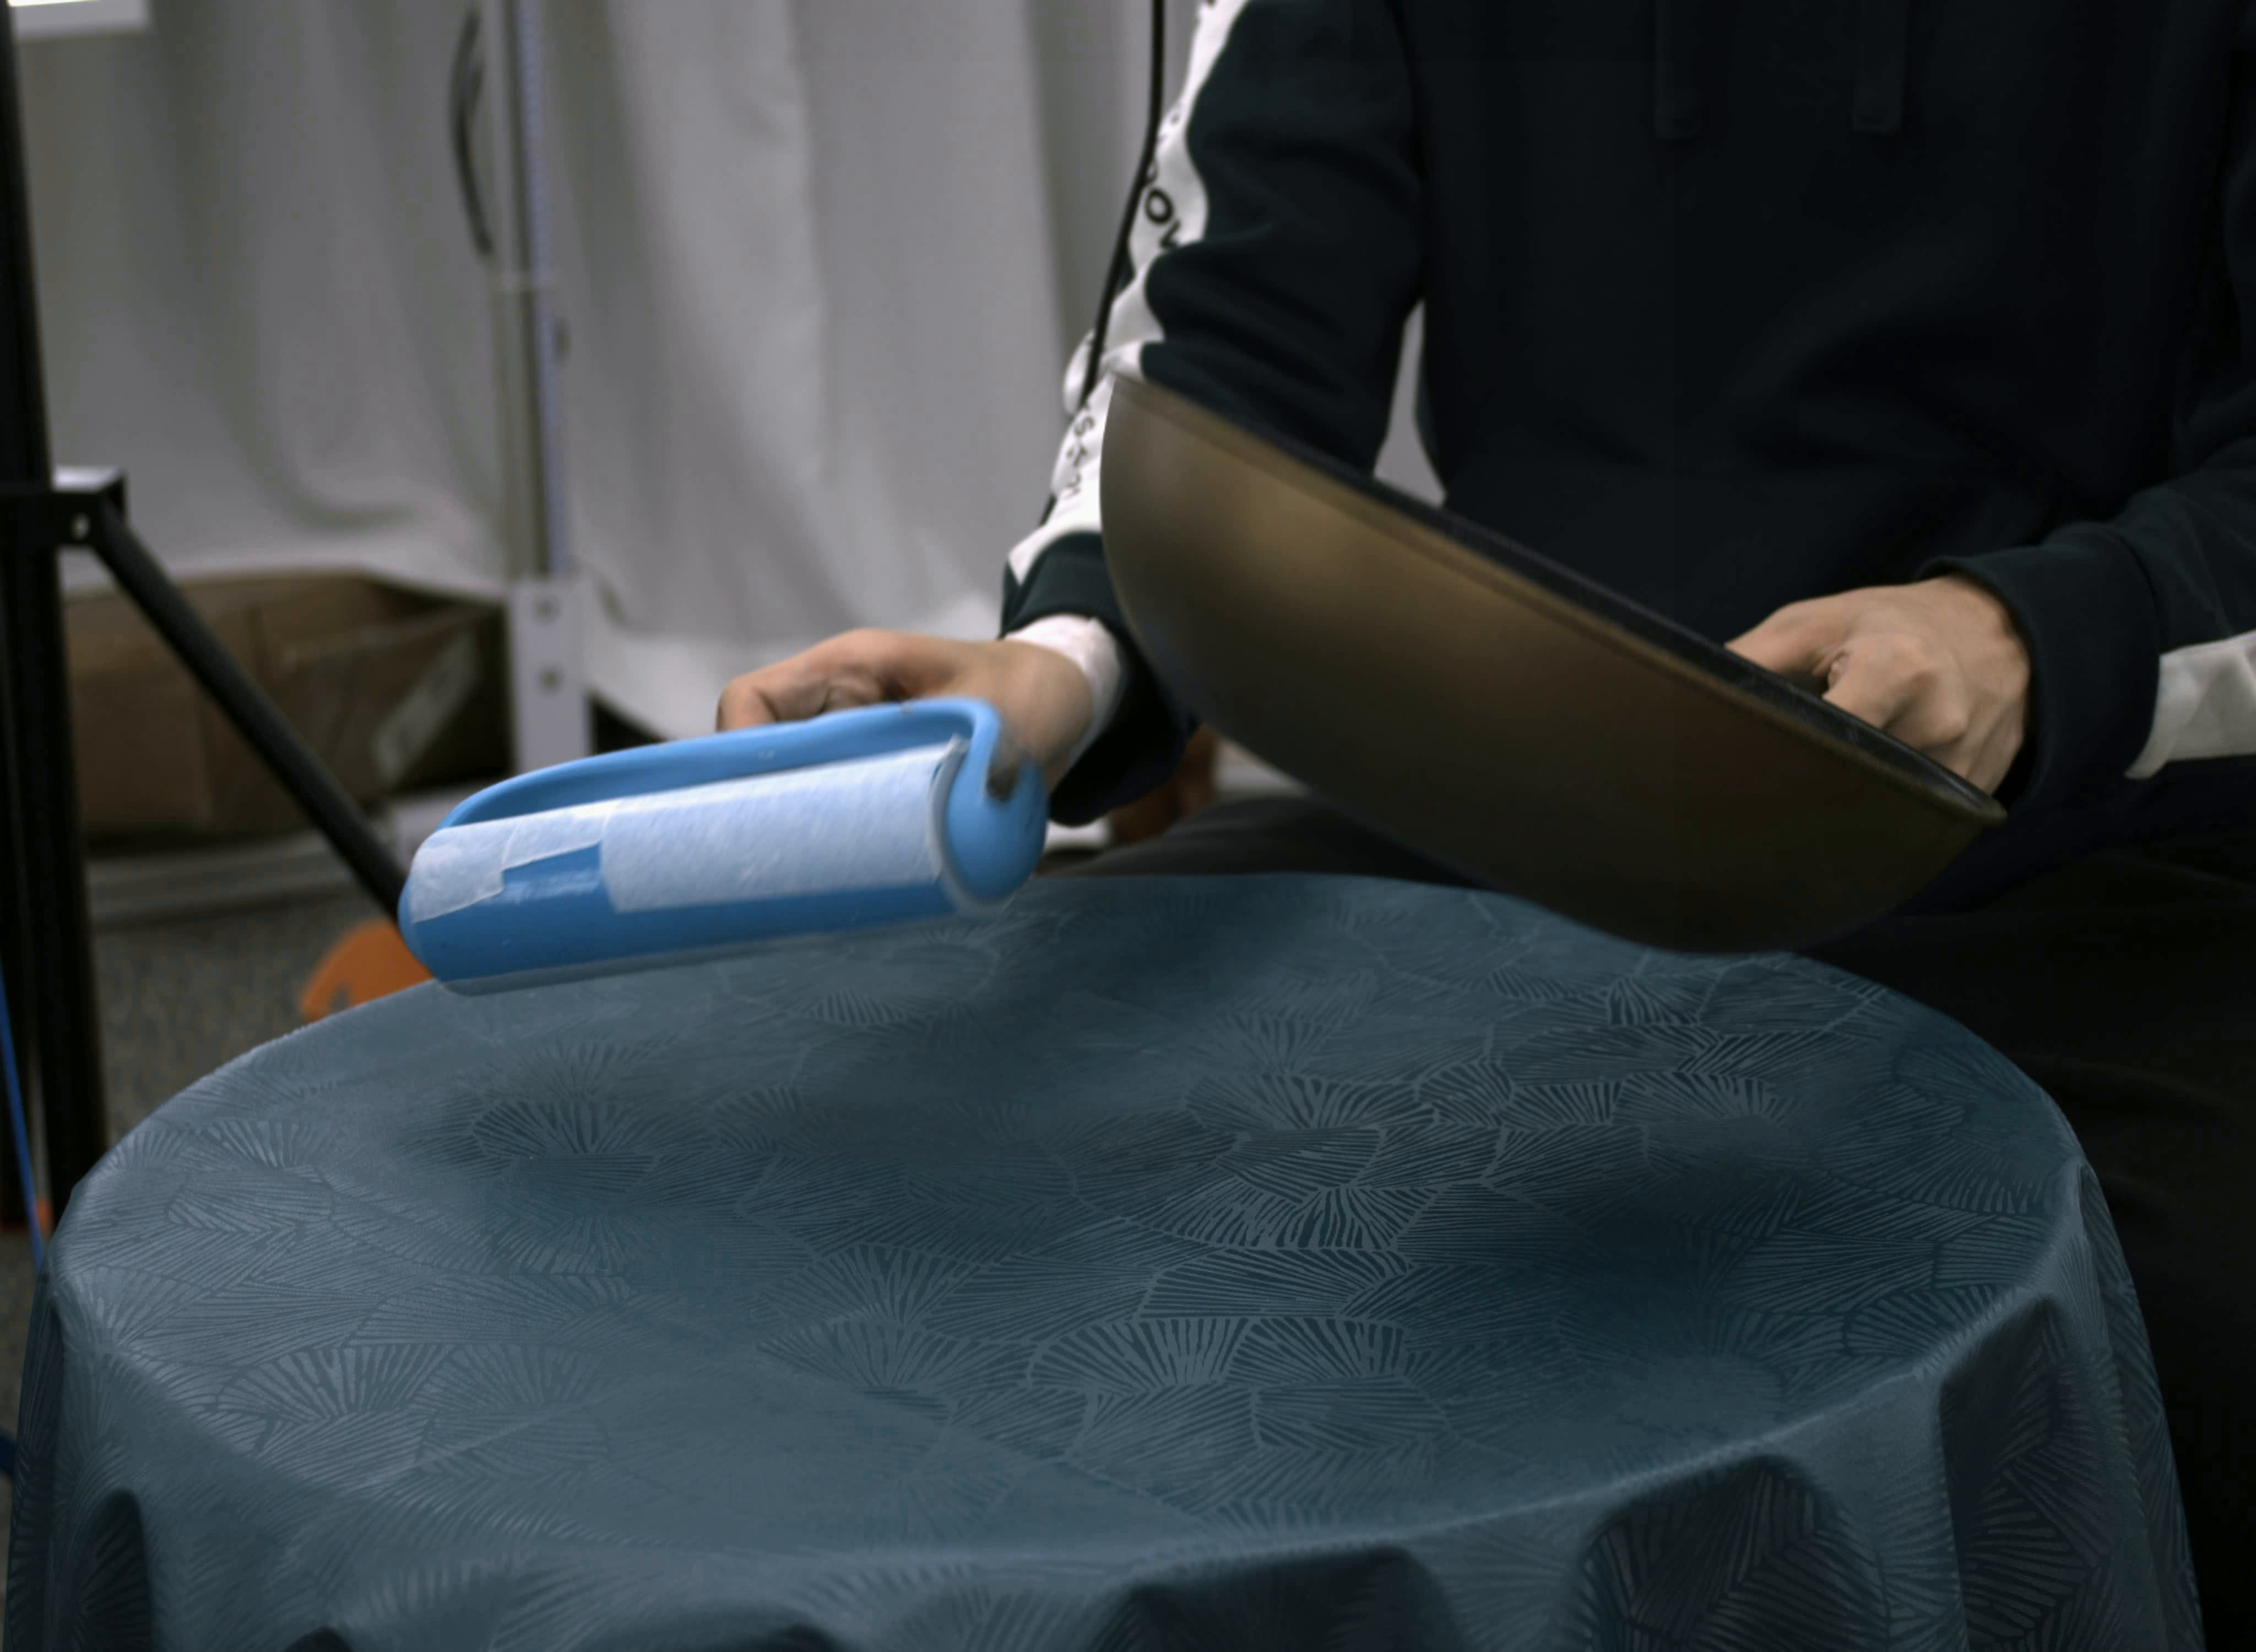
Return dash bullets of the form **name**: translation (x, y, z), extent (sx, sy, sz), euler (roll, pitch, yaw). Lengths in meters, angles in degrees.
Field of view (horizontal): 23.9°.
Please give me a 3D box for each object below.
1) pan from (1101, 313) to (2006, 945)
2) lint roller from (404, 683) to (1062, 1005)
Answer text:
- **pan**: translation (0.147, -0.024, 1.569), extent (0.294, 0.087, 0.452), euler (32, 6, 32)
- **lint roller**: translation (-0.100, -0.003, 1.658), extent (0.232, 0.068, 0.178), euler (-13, 9, 27)
